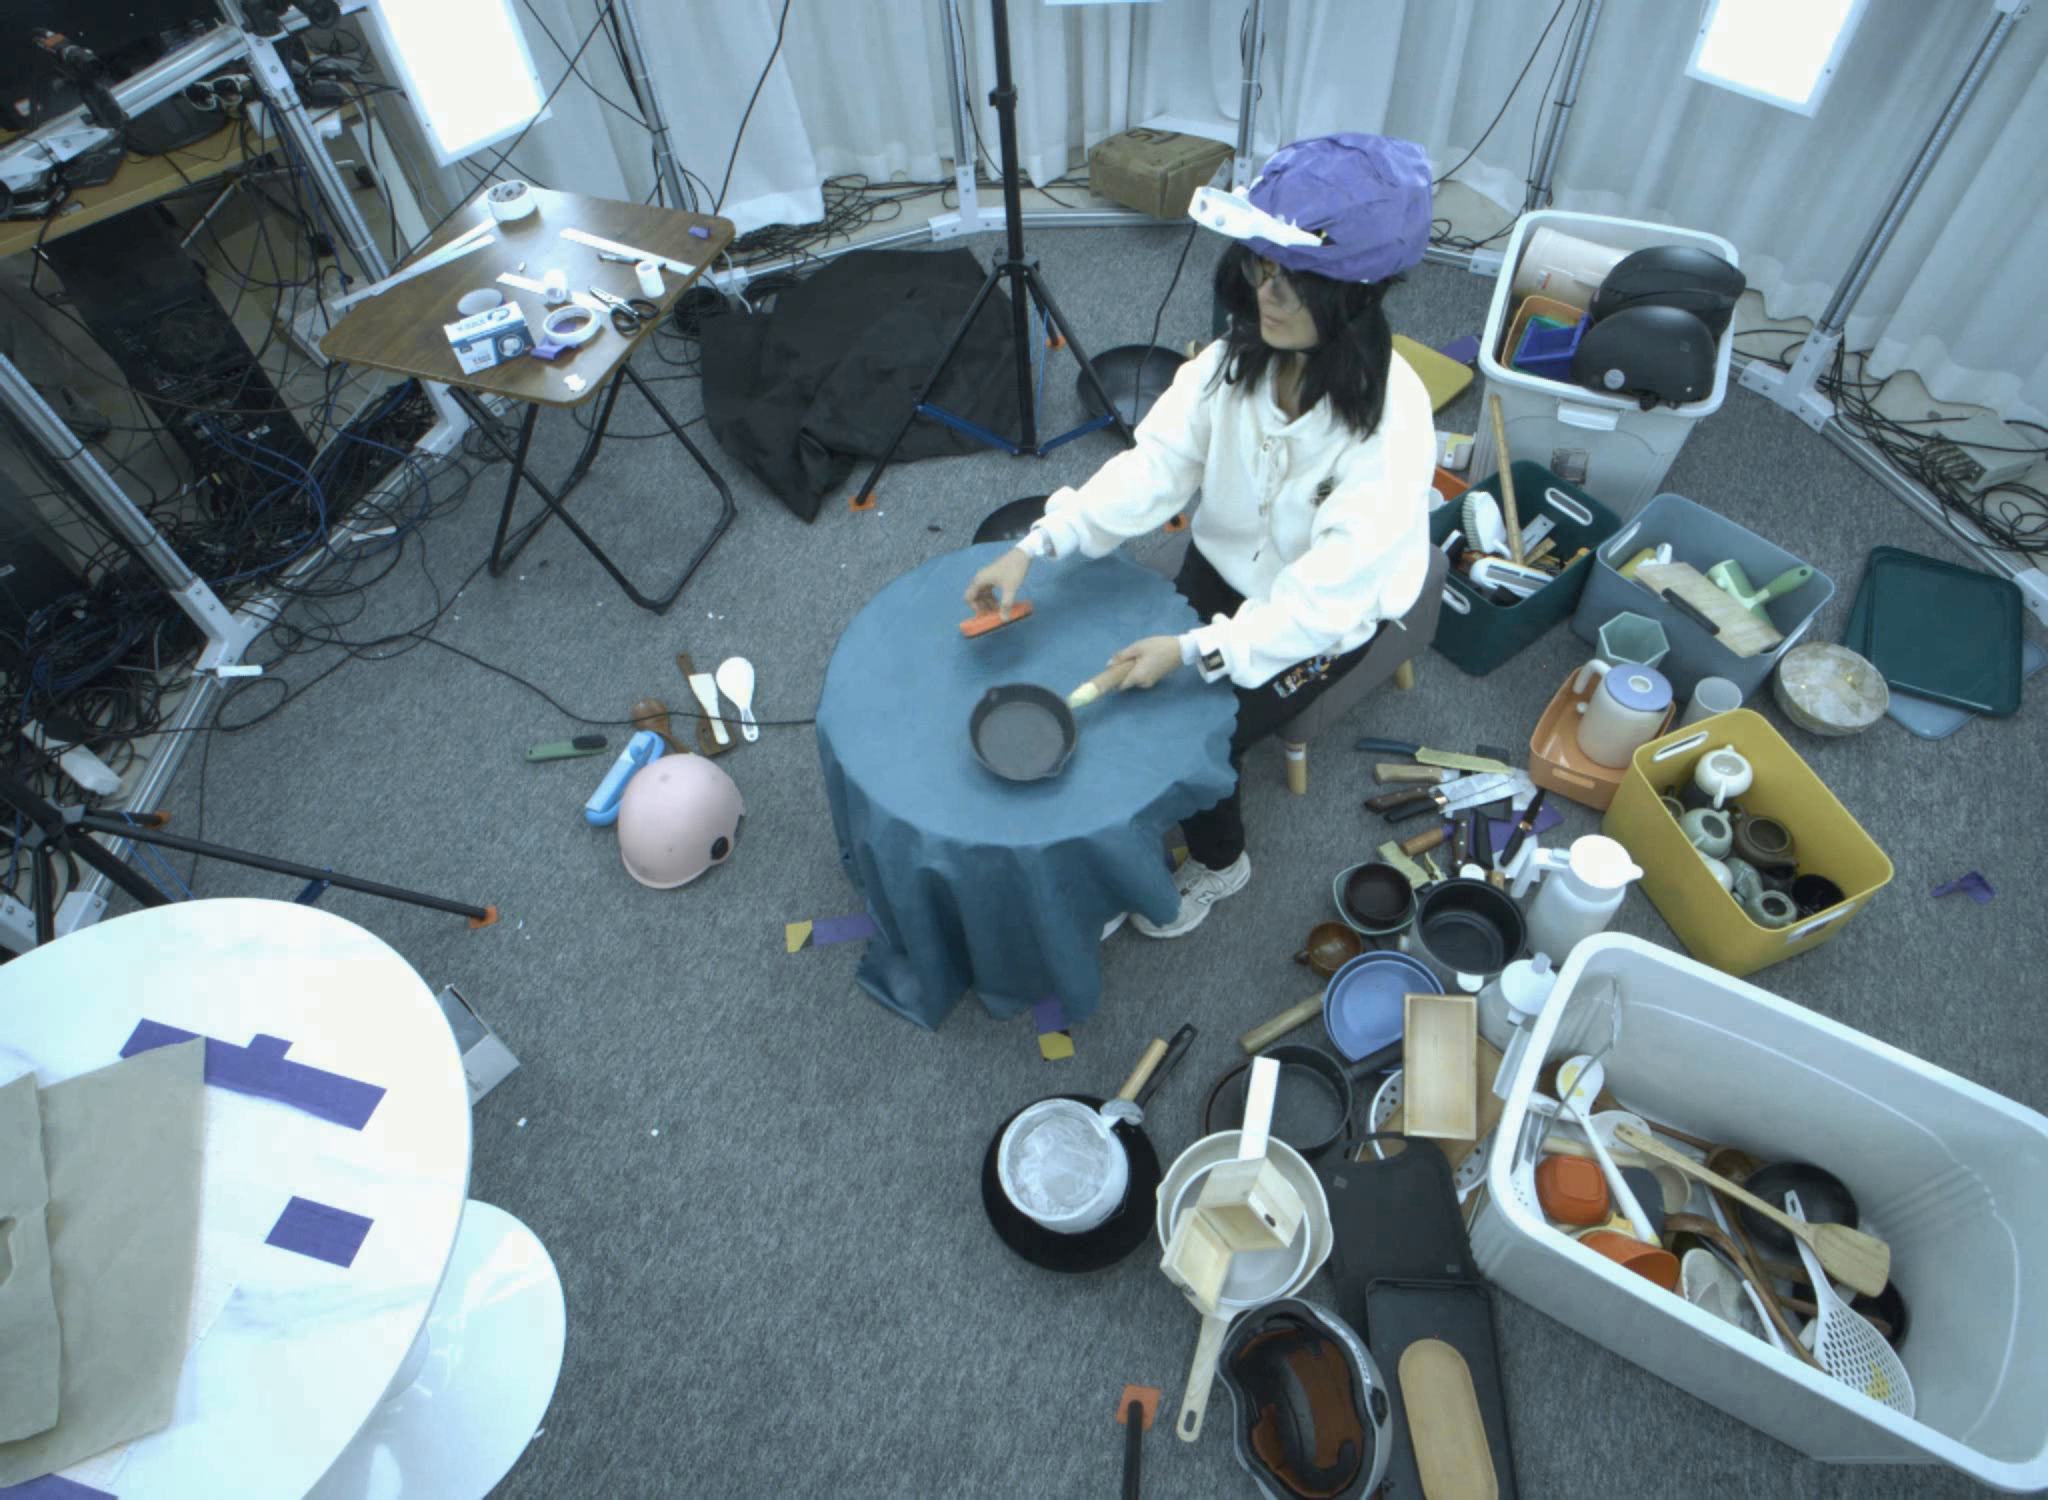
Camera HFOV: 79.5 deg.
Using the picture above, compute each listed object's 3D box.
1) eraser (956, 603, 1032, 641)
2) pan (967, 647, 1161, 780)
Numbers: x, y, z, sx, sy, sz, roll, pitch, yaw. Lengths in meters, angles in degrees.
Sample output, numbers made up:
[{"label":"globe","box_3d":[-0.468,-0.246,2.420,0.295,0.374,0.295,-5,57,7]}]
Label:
[{"label":"eraser","box_3d":[-0.046,-0.195,1.867,0.109,0.023,0.058,-23,18,-20]},{"label":"pan","box_3d":[0.067,-0.064,1.789,0.327,0.050,0.166,-30,68,-17]}]
